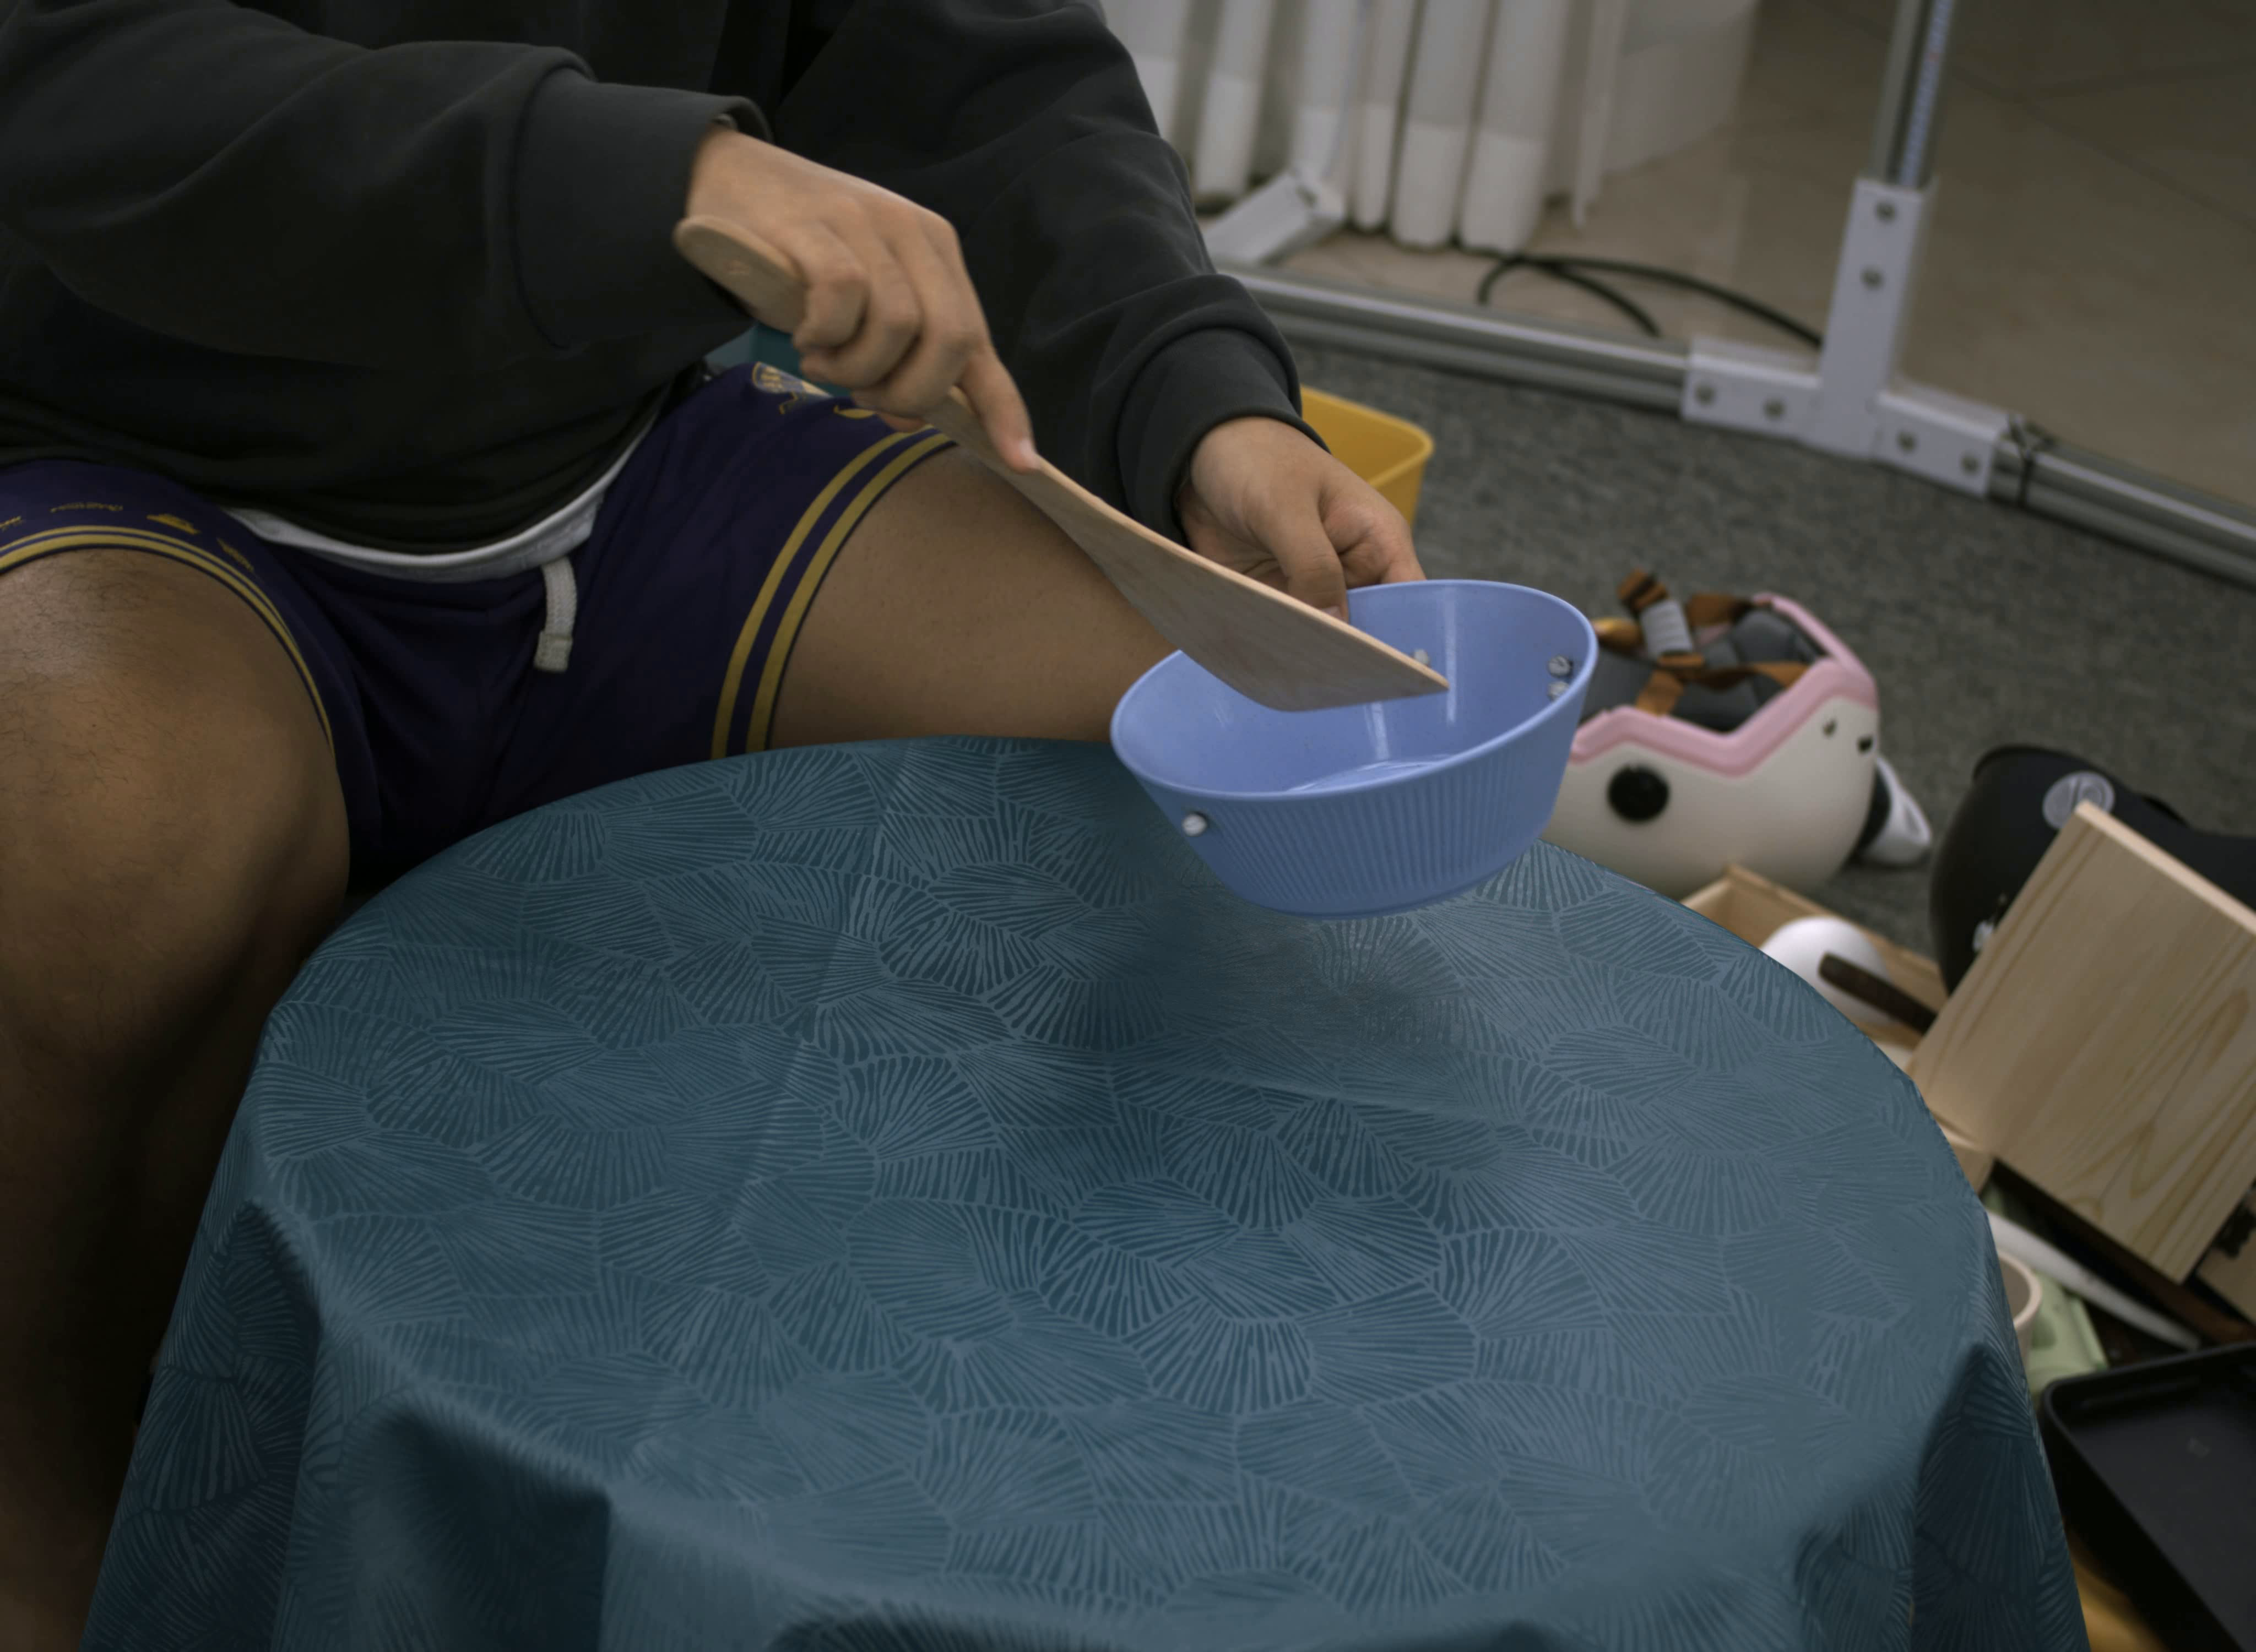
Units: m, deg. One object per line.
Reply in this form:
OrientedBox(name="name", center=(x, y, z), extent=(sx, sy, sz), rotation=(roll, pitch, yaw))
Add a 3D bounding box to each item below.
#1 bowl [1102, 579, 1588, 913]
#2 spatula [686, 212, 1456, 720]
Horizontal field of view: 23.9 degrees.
OrientedBox(name="bowl", center=(0.083, -0.023, 1.897), extent=(0.176, 0.070, 0.177), rotation=(-12, 23, 5))
OrientedBox(name="spatula", center=(-0.024, -0.116, 1.798), extent=(0.080, 0.325, 0.016), rotation=(-15, 47, 48))
